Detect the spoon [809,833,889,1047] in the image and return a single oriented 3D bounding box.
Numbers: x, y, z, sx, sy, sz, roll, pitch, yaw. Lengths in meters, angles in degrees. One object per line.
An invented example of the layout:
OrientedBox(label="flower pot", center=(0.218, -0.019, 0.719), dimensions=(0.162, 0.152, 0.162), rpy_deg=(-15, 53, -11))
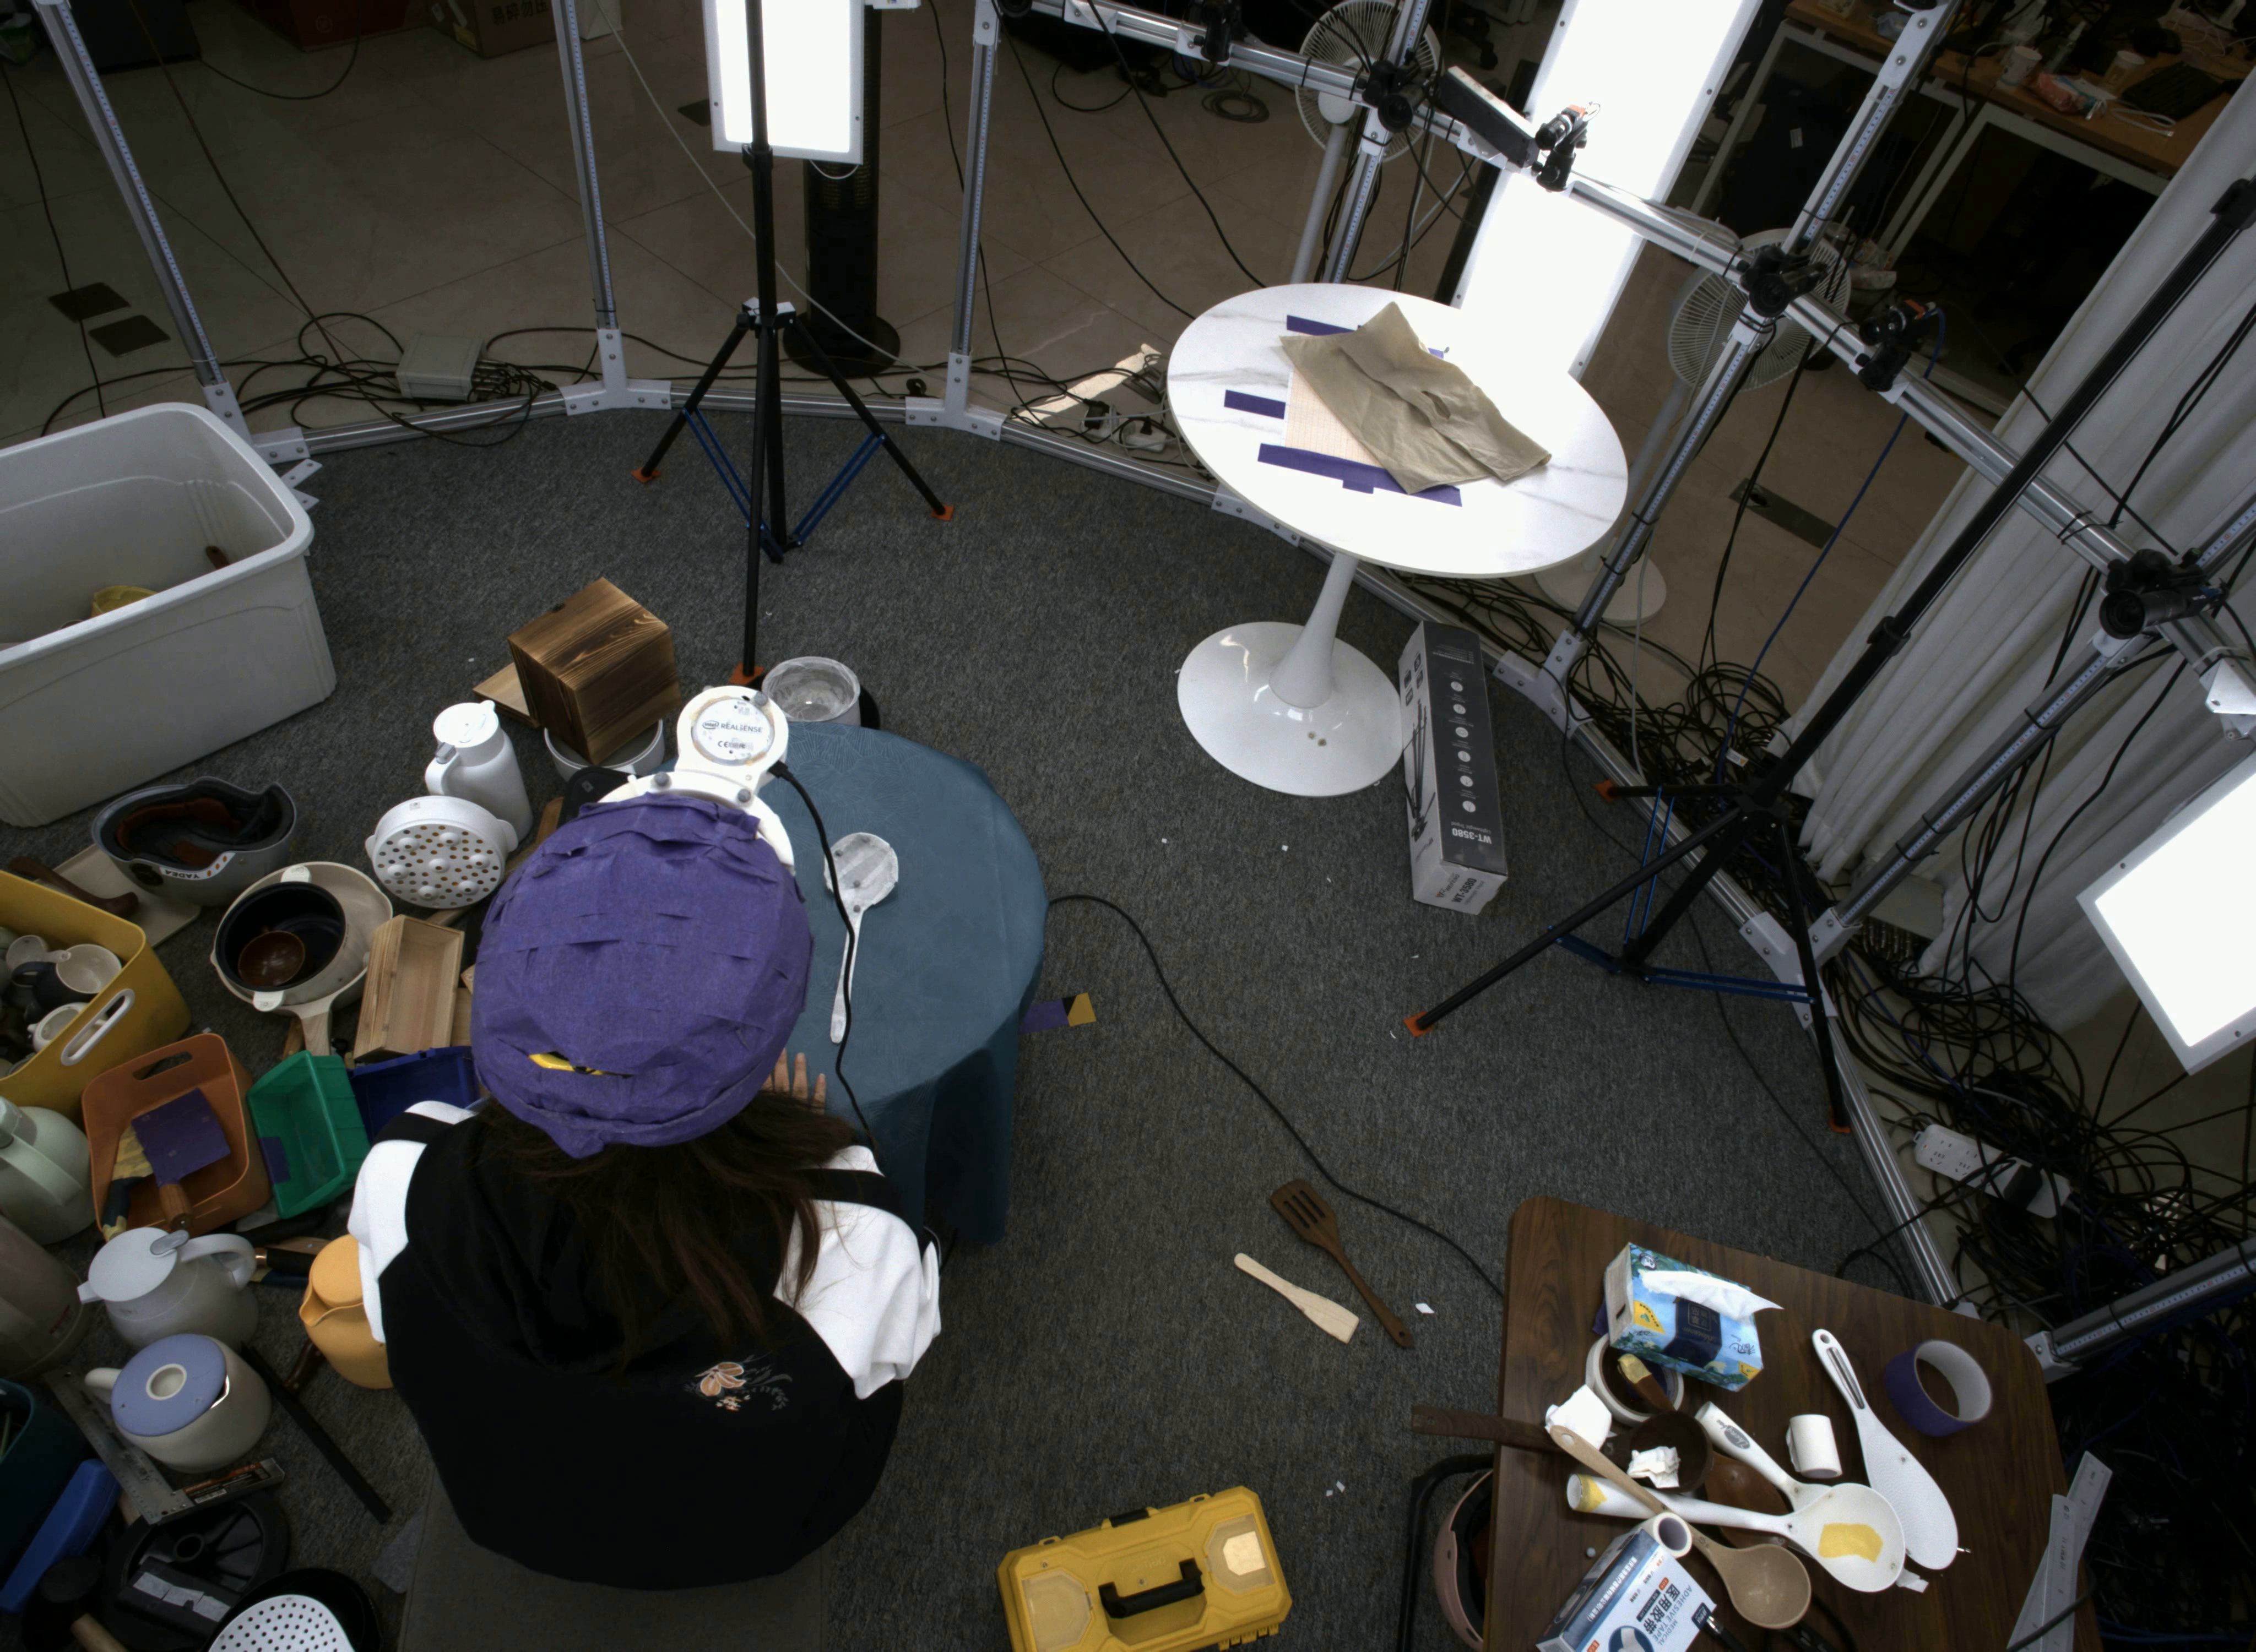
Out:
OrientedBox(label="spoon", center=(-0.359, 0.133, 1.599), dimensions=(0.100, 0.061, 0.272), rpy_deg=(6, 52, -5))

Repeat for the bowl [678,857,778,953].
OrientedBox(label="bowl", center=(-0.487, 0.102, 1.578), dimensions=(0.118, 0.071, 0.116), rpy_deg=(7, 52, -8))
